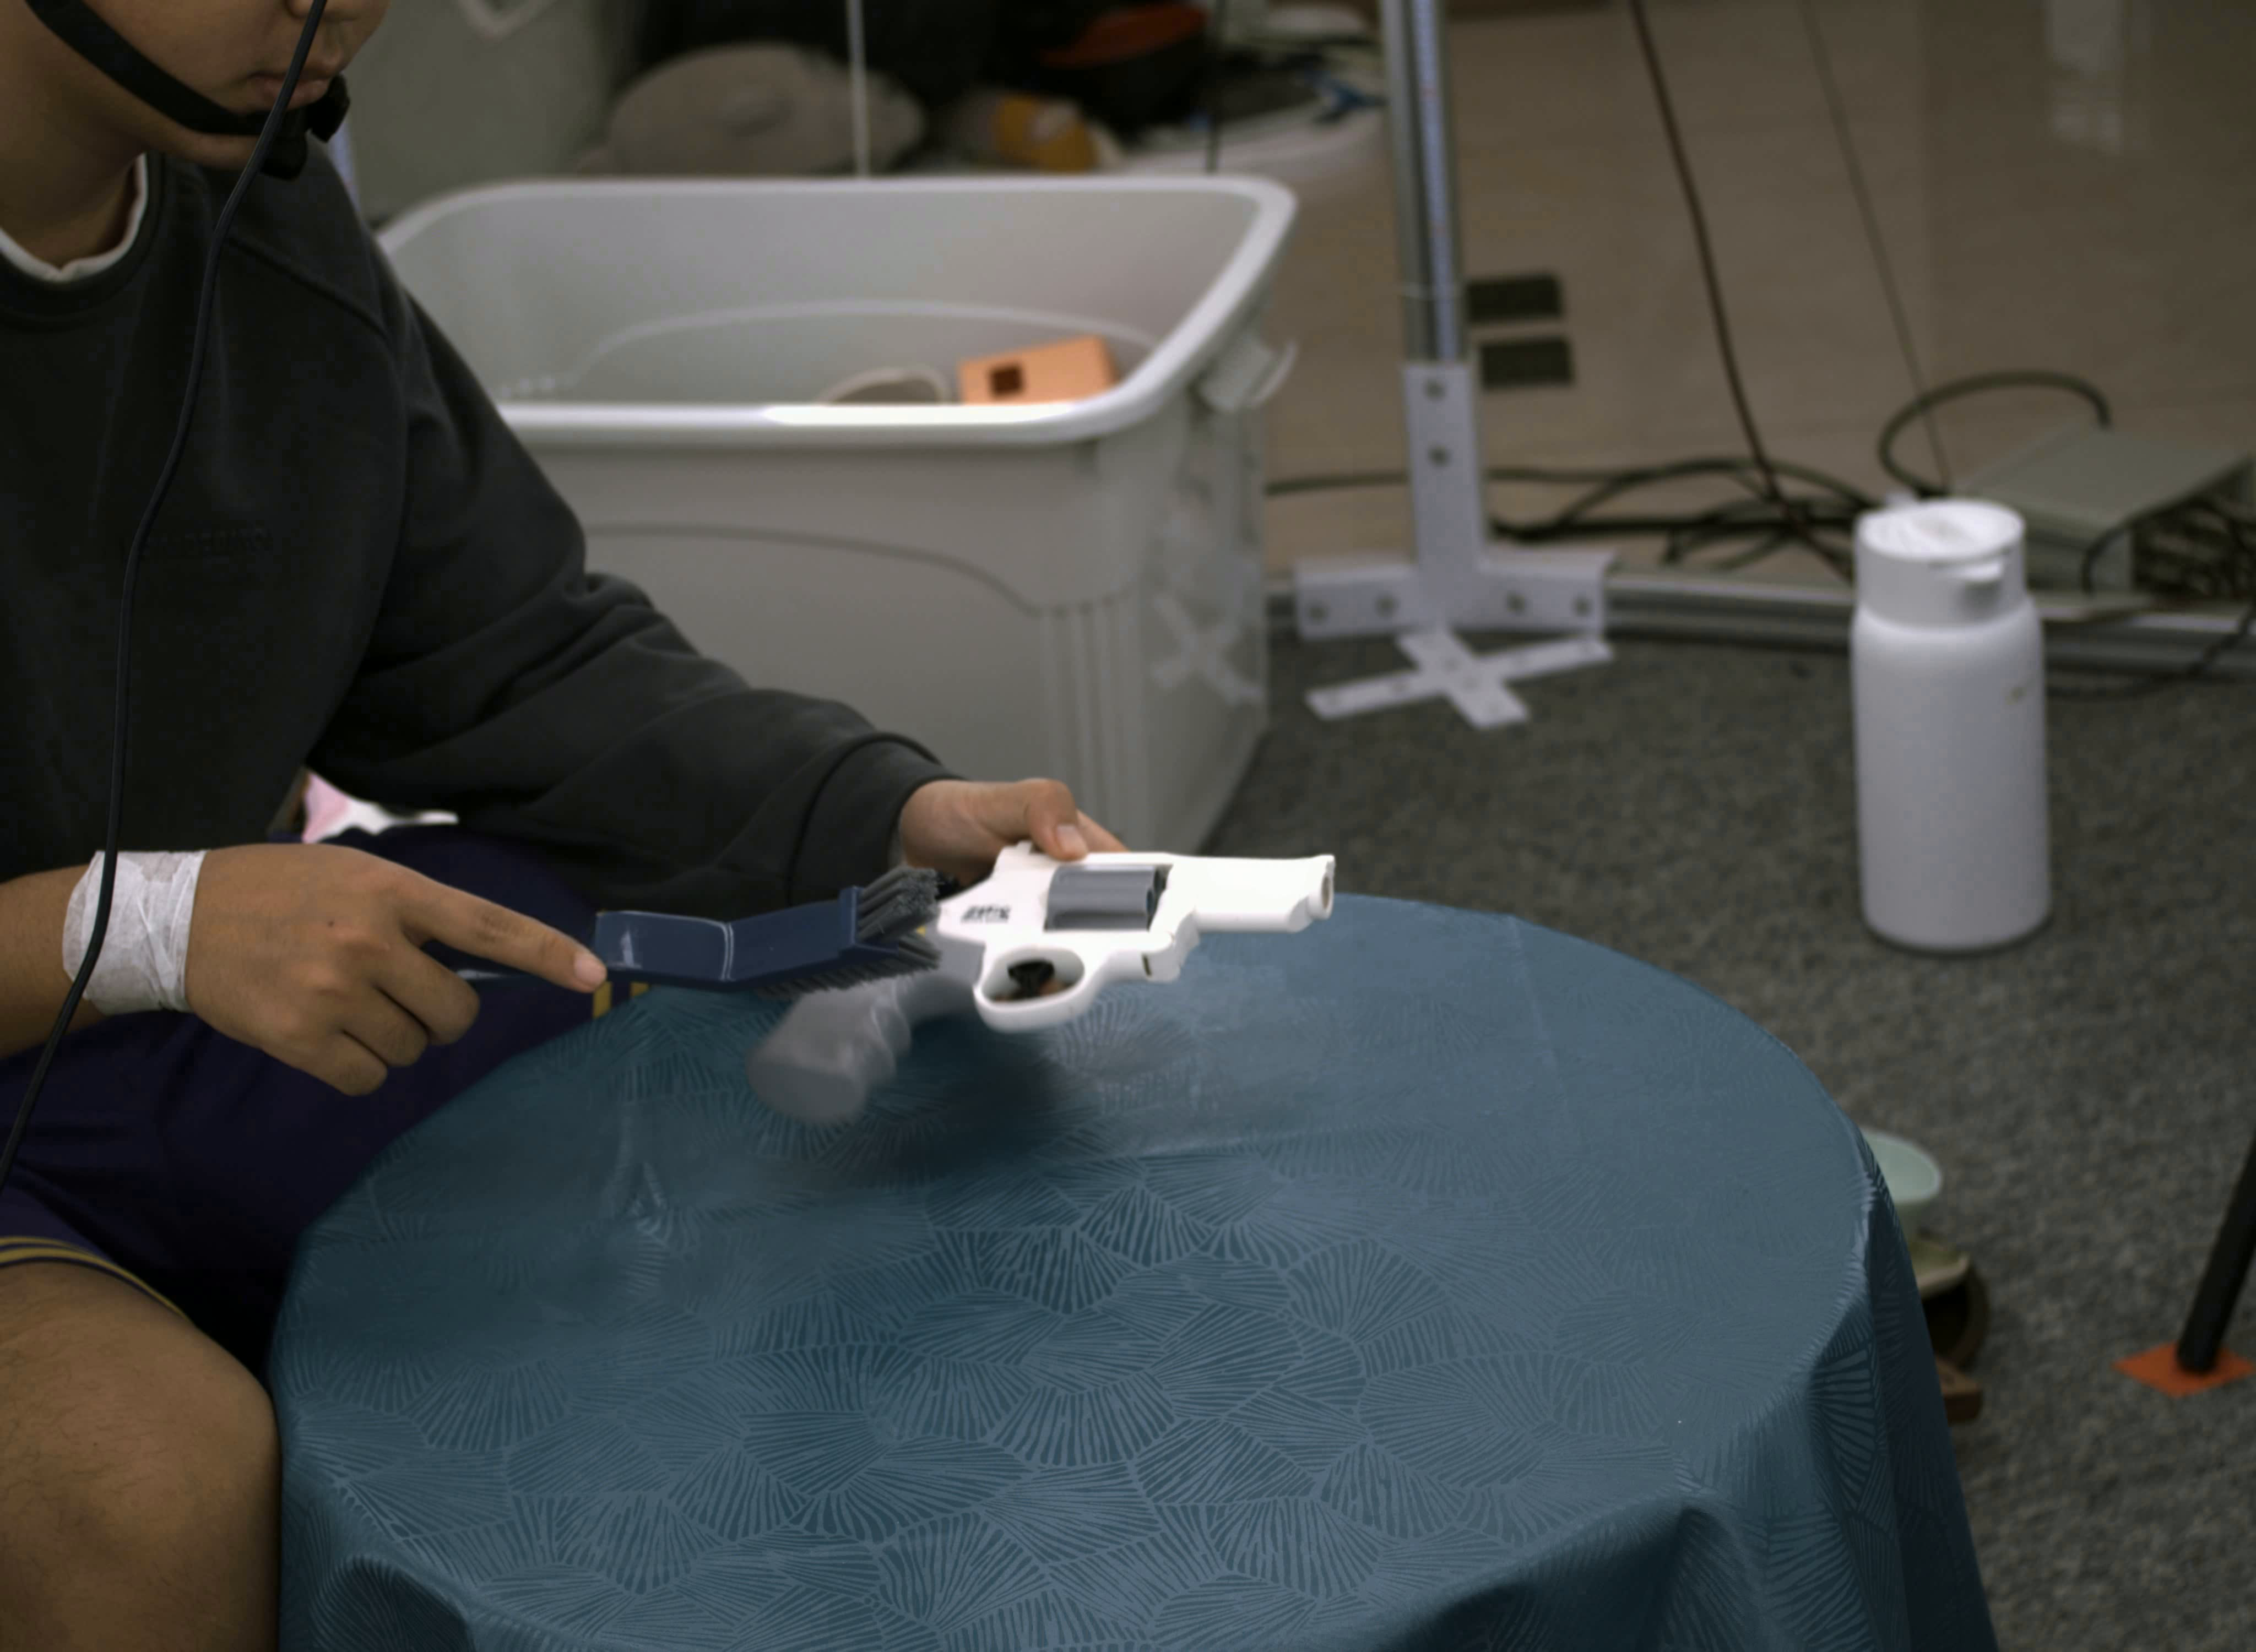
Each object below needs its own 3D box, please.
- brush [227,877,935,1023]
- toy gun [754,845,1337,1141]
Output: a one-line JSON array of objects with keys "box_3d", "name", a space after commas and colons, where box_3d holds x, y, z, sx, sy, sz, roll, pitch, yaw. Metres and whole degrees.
[{"box_3d": [-0.208, 0.044, 2.099, 0.273, 0.097, 0.033, -2, 69, 5], "name": "brush"}, {"box_3d": [-0.030, 0.058, 2.162, 0.209, 0.039, 0.139, -3, 40, 18], "name": "toy gun"}]
